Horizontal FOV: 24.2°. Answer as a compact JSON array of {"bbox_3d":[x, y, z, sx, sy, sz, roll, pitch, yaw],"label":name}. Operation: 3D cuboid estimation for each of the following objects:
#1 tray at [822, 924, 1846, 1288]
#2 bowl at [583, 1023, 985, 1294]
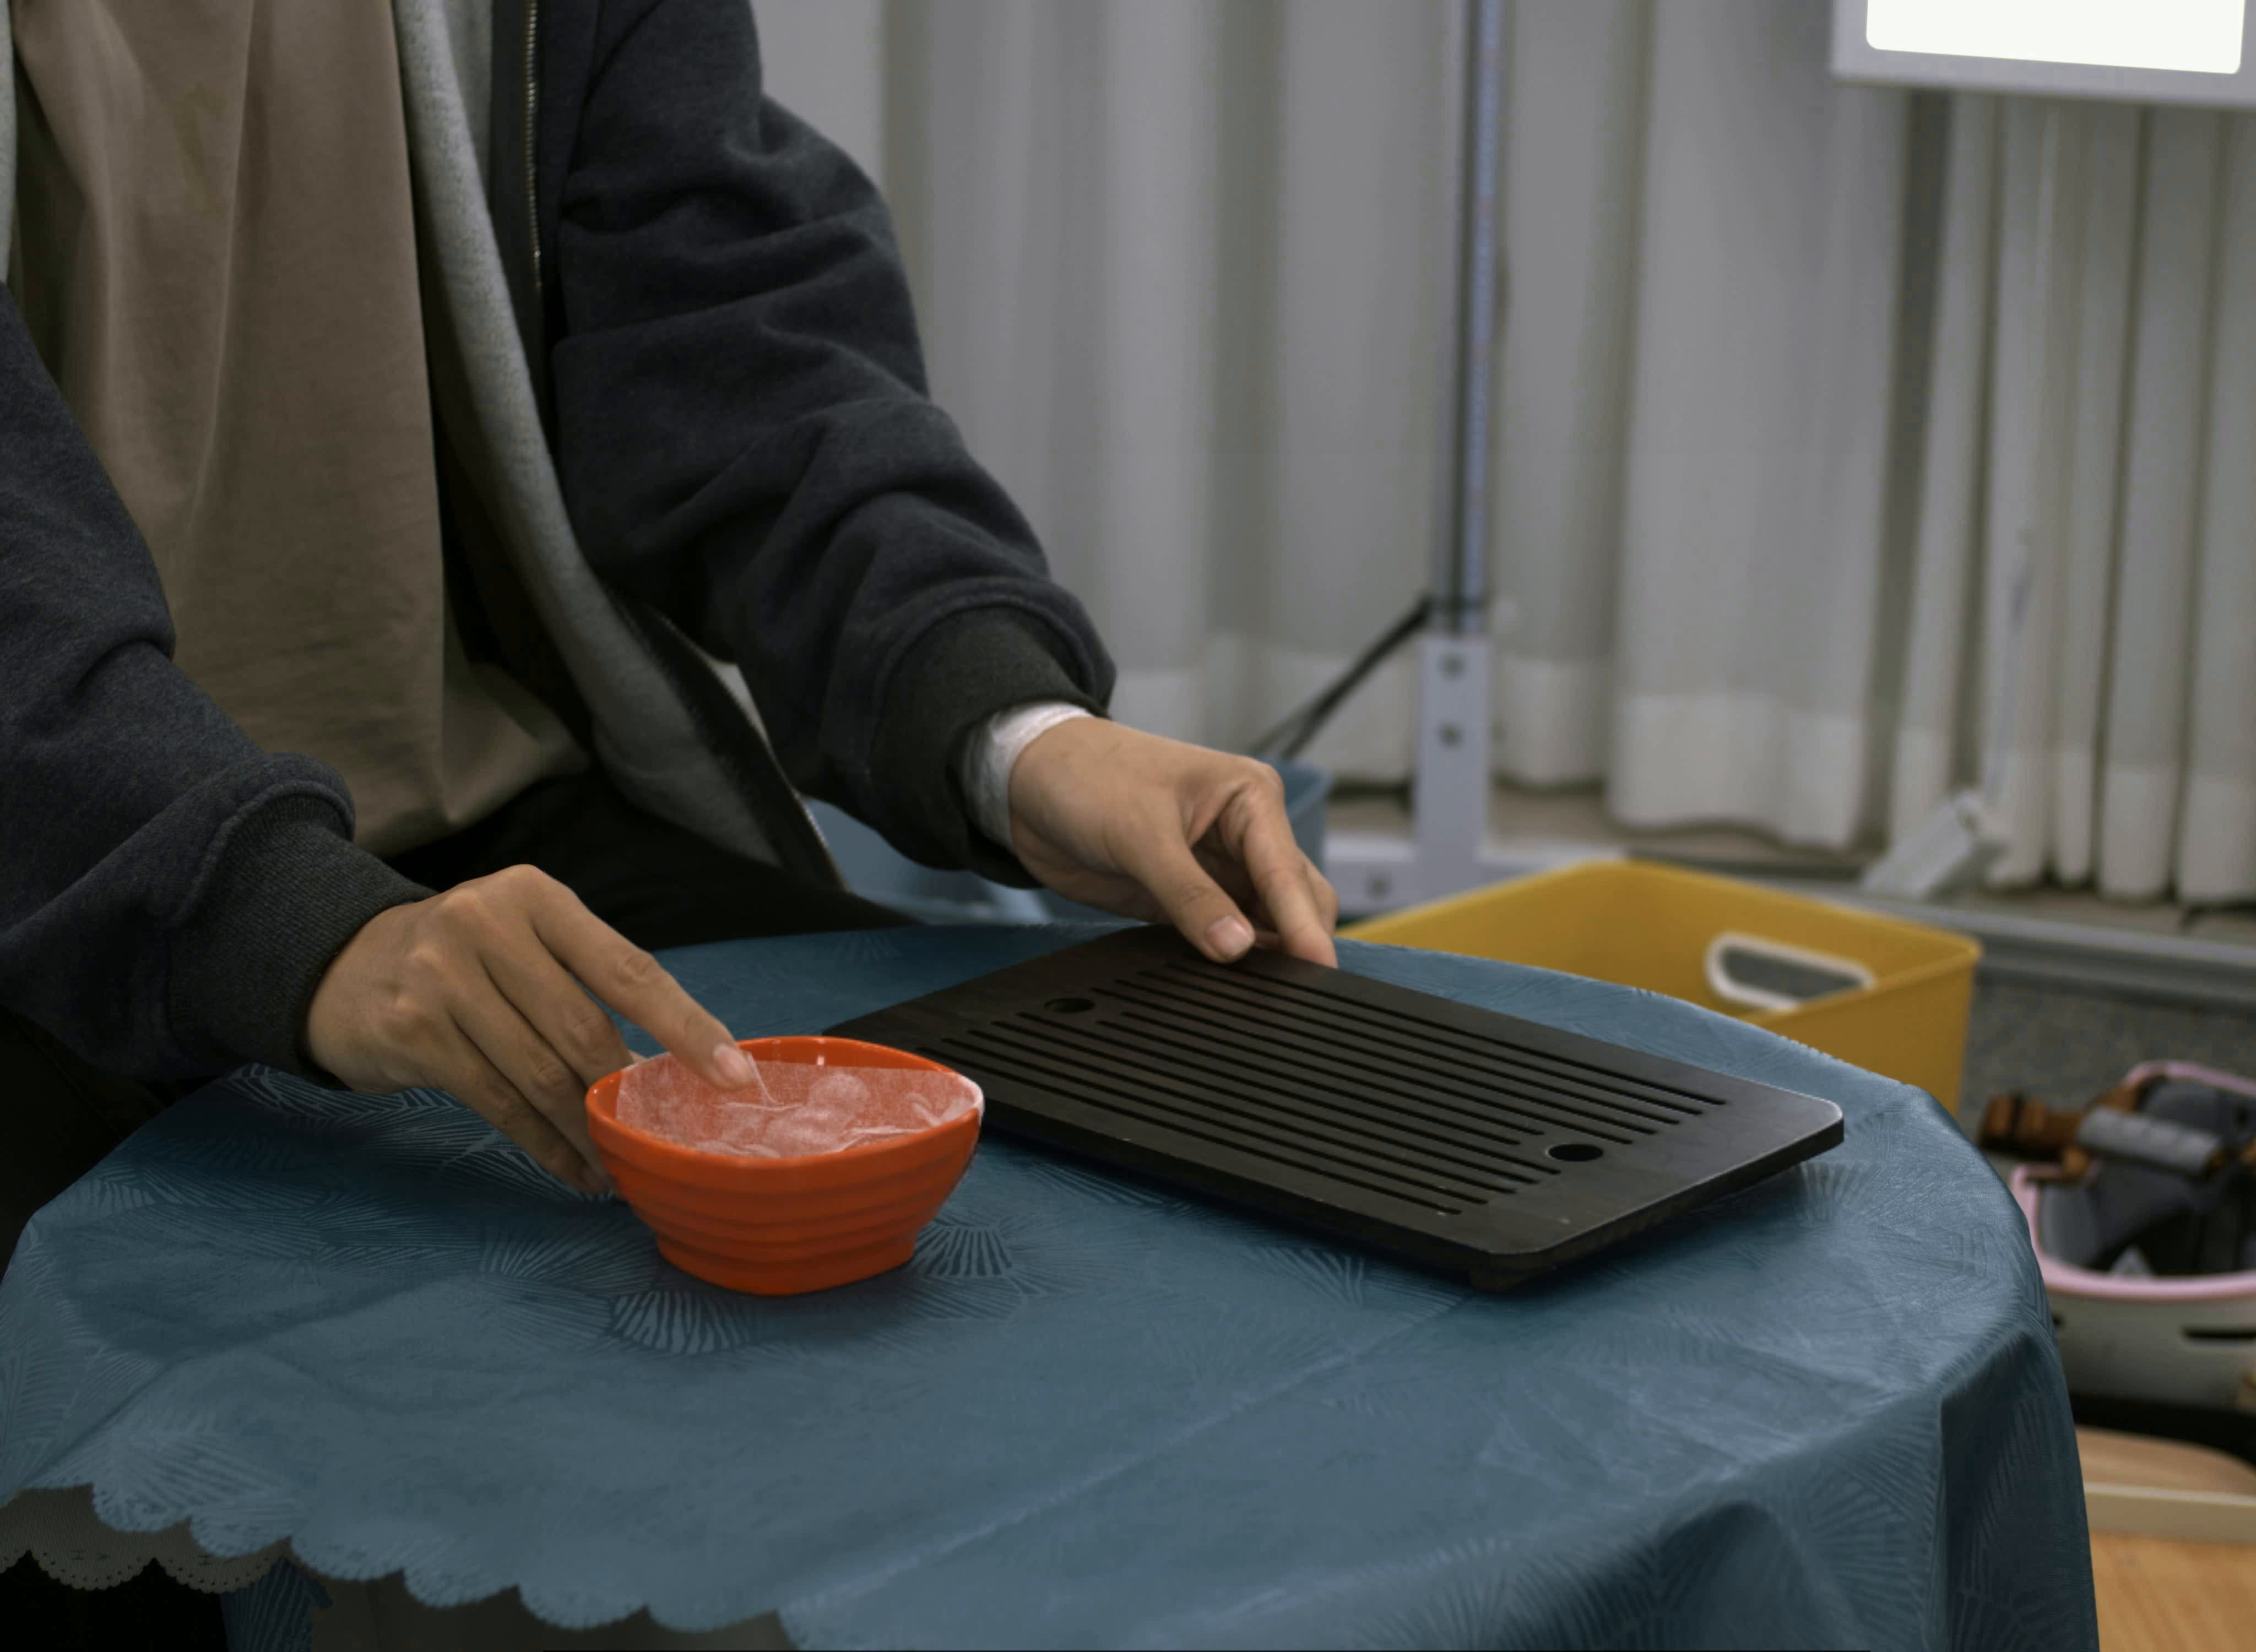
[{"bbox_3d":[0.061,0.086,1.680,0.302,0.019,0.171,14,22,41],"label":"tray"},{"bbox_3d":[-0.102,0.100,1.558,0.118,0.052,0.118,1,18,0],"label":"bowl"}]
